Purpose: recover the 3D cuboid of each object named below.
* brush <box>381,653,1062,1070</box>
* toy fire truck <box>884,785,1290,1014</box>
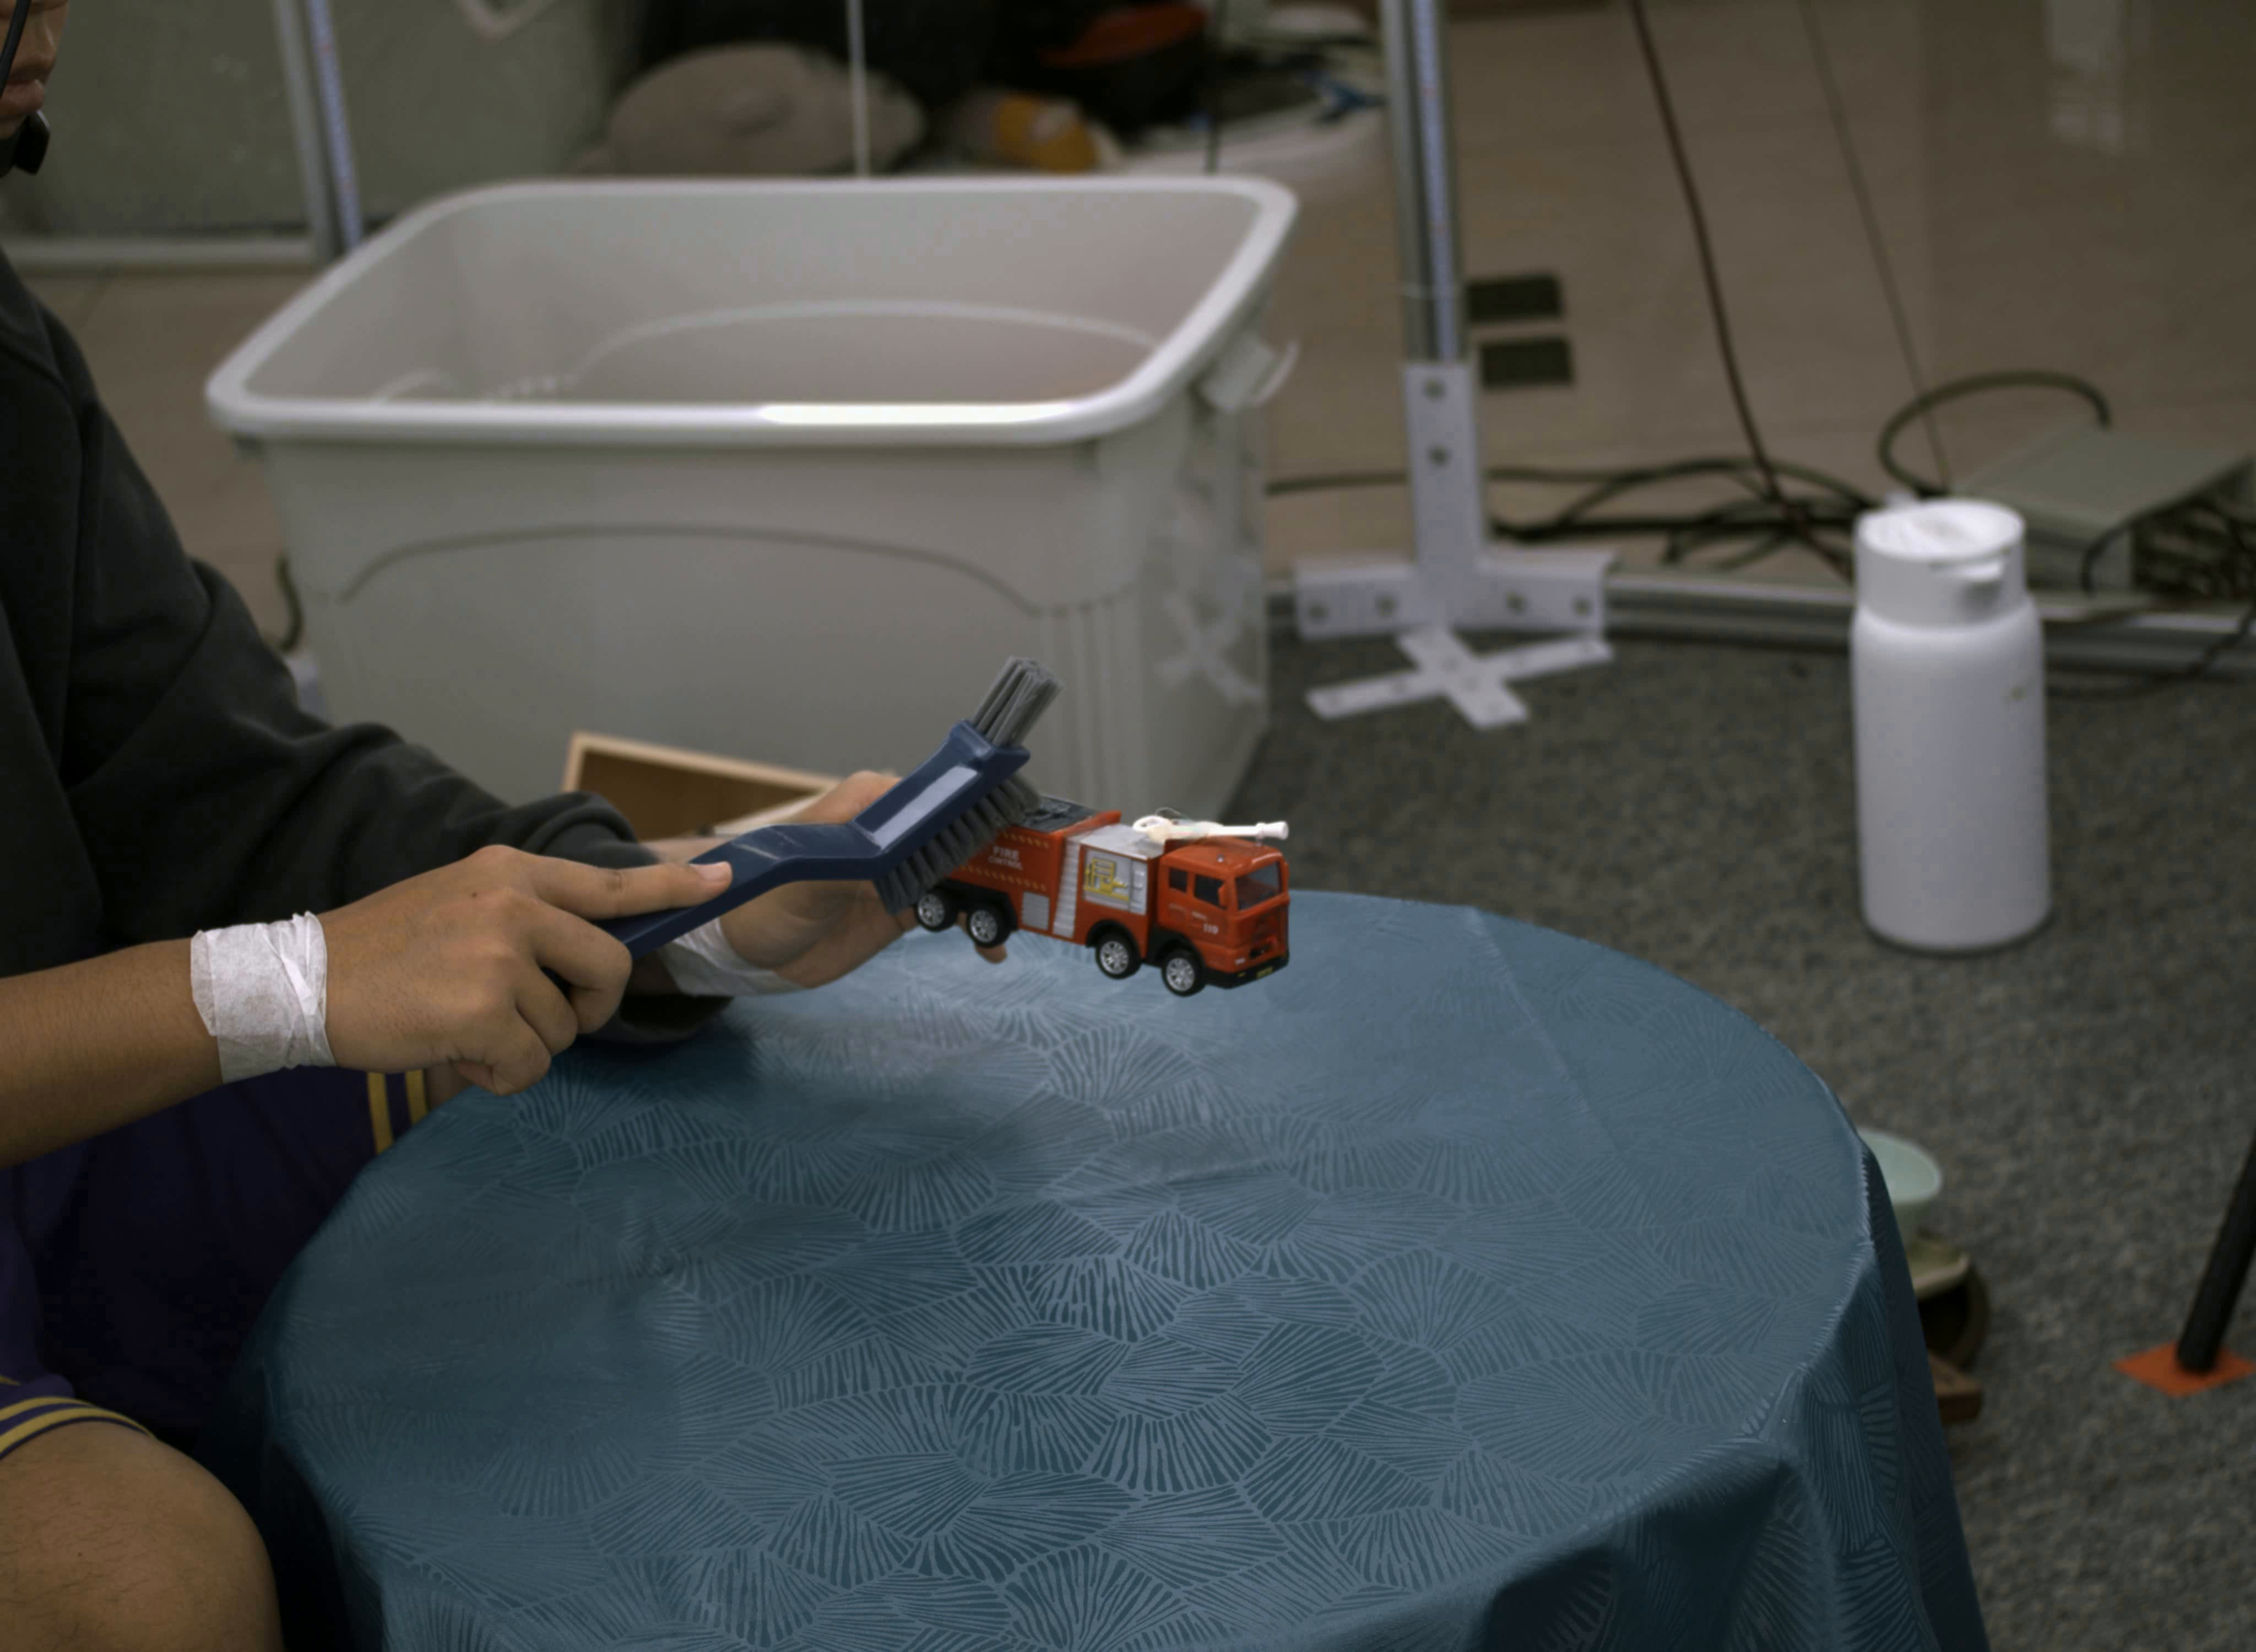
[{"bbox_3d":[-0.147,0.013,2.086,0.271,0.097,0.033,-21,48,-27],"label":"brush"},{"bbox_3d":[-0.014,0.021,2.168,0.167,0.071,0.053,13,20,31],"label":"toy fire truck"}]
